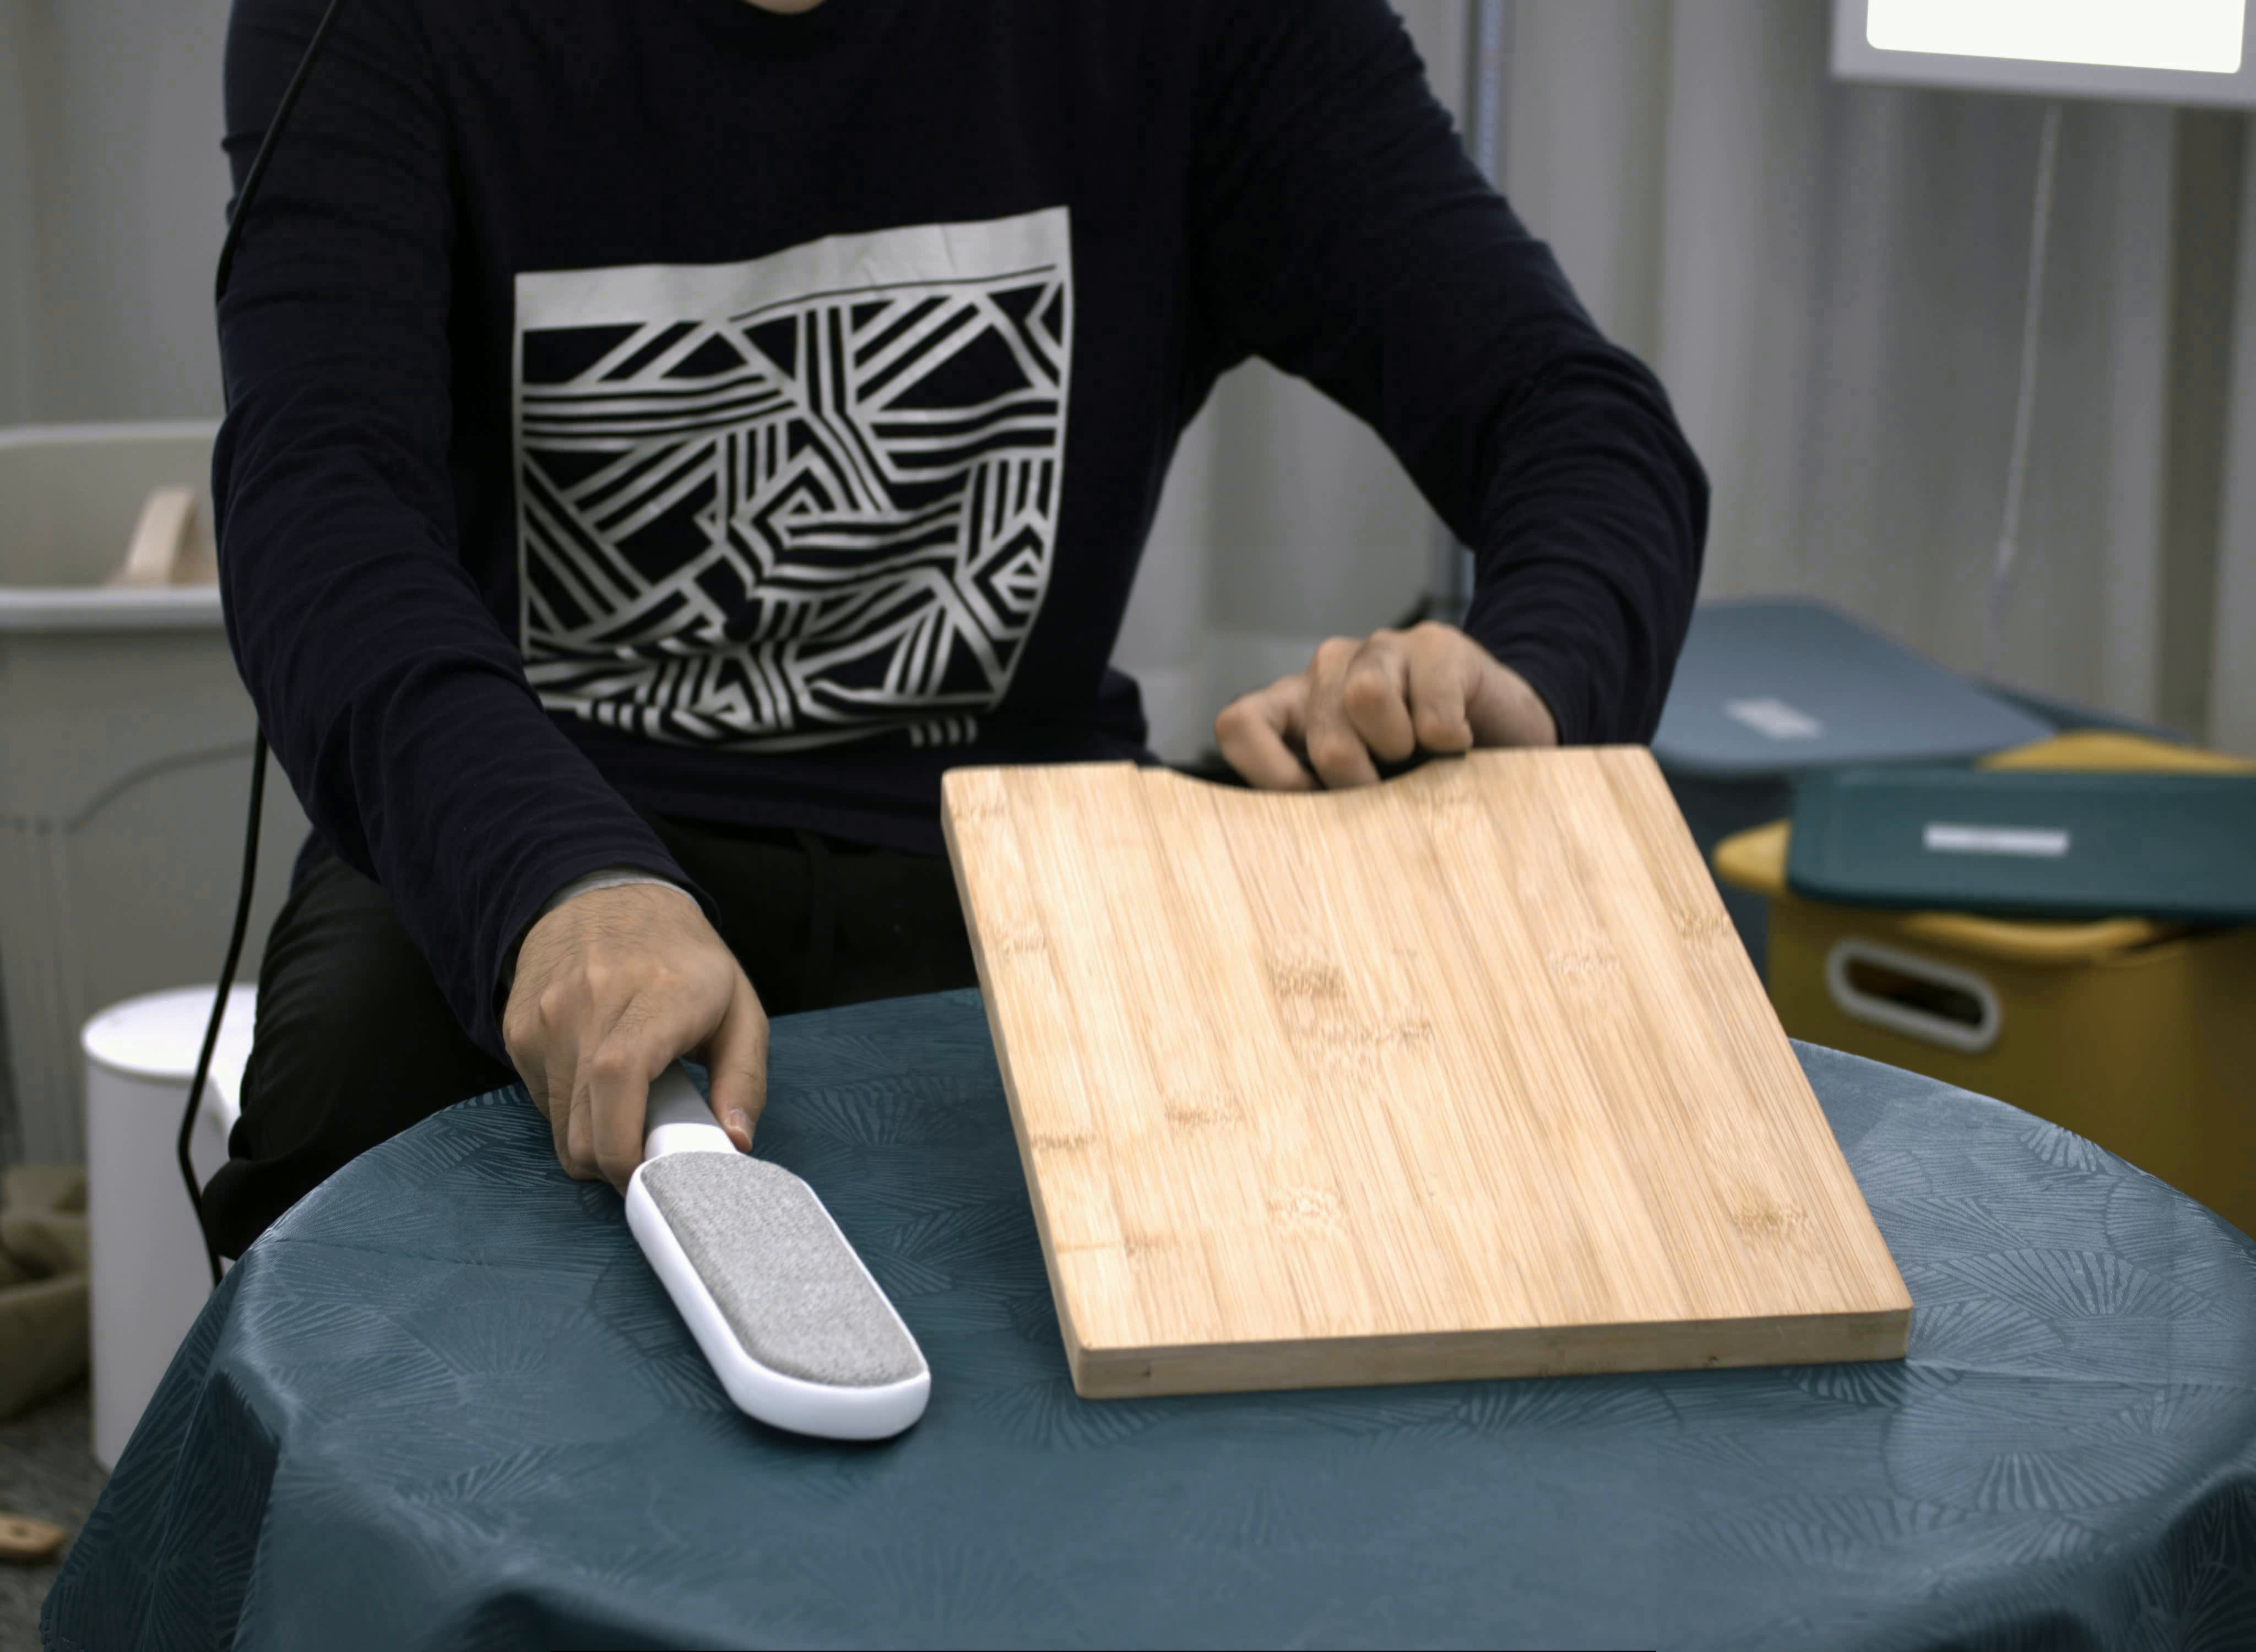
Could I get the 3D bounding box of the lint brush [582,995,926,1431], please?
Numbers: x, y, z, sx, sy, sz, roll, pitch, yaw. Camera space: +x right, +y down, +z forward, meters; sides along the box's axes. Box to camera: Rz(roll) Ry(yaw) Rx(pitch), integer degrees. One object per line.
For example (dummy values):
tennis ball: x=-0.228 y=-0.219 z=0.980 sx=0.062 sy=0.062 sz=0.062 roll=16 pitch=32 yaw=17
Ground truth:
lint brush: x=-0.118 y=0.109 z=1.548 sx=0.060 sy=0.021 sz=0.305 roll=-2 pitch=19 yaw=-17

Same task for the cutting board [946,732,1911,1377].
cutting board: x=0.081 y=0.063 z=1.621 sx=0.250 sy=0.024 sz=0.345 roll=-2 pitch=30 yaw=-9
